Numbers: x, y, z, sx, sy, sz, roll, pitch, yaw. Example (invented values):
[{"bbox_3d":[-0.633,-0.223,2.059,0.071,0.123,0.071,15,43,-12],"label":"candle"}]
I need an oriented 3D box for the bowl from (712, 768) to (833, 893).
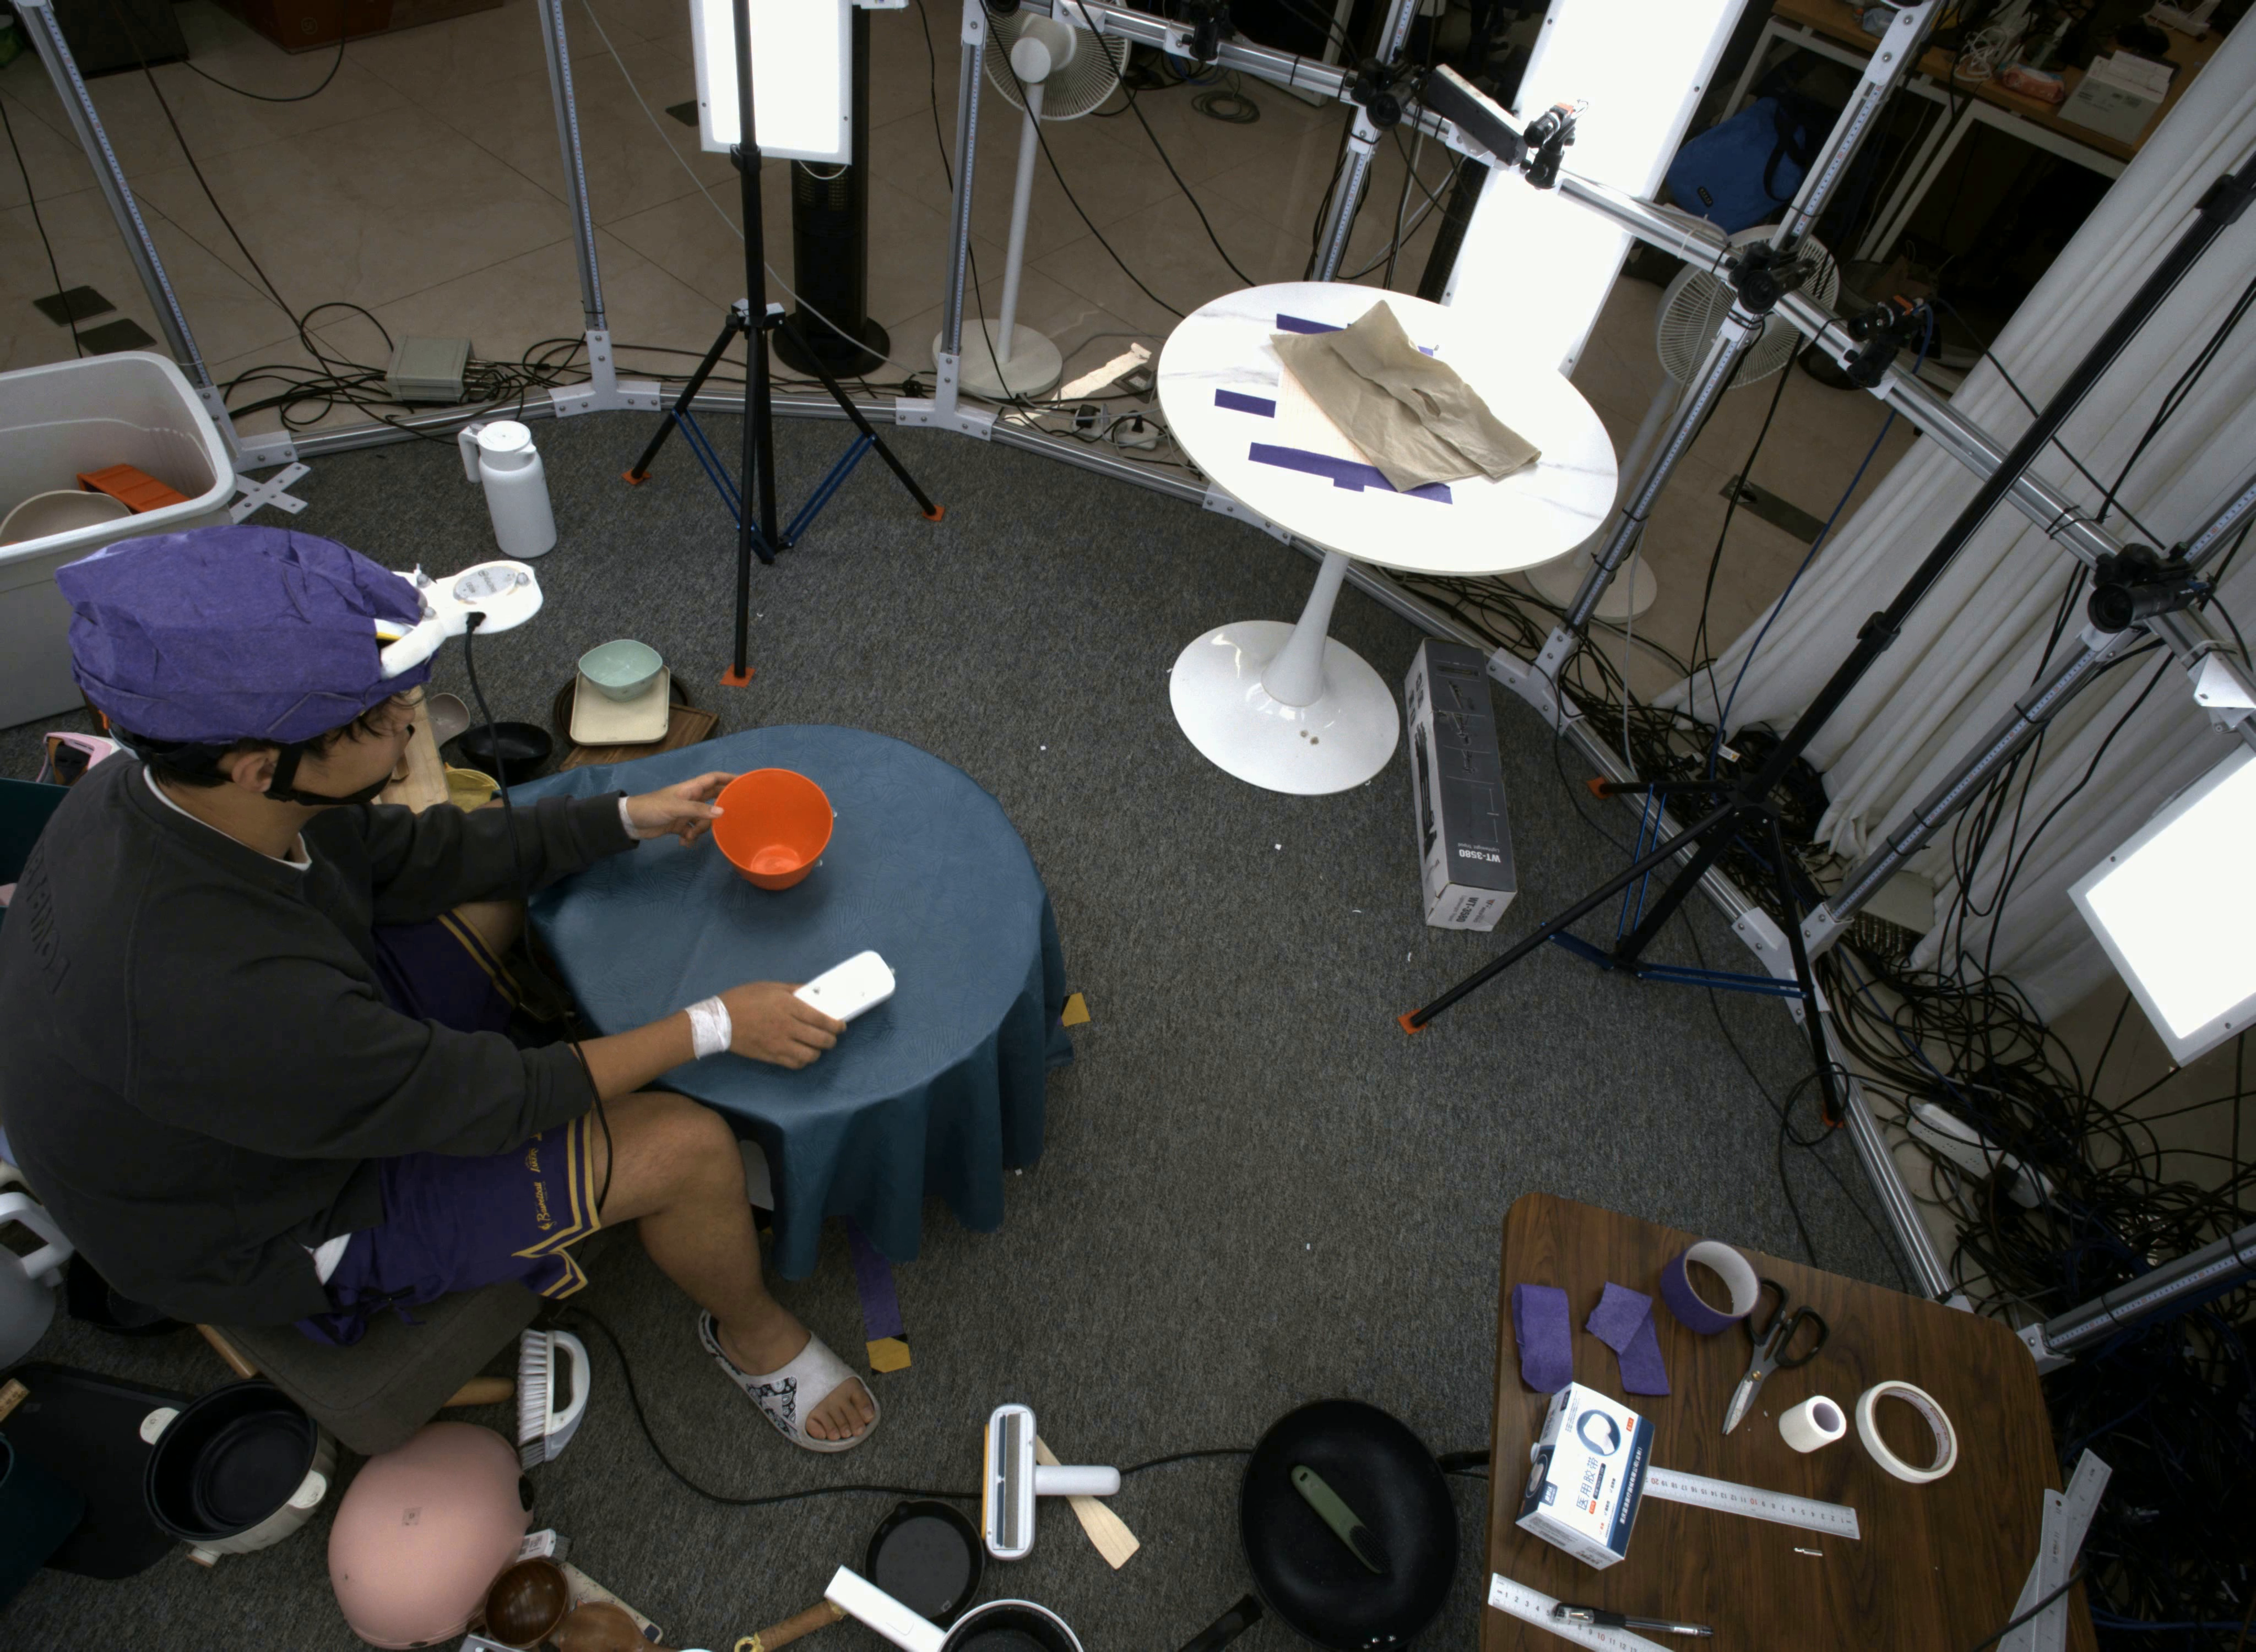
[{"bbox_3d":[-0.450,0.017,1.646,0.148,0.107,0.145,7,53,-8],"label":"bowl"}]

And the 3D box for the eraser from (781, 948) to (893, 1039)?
[{"bbox_3d":[-0.346,0.195,1.546,0.131,0.035,0.062,-29,64,-19],"label":"eraser"}]
